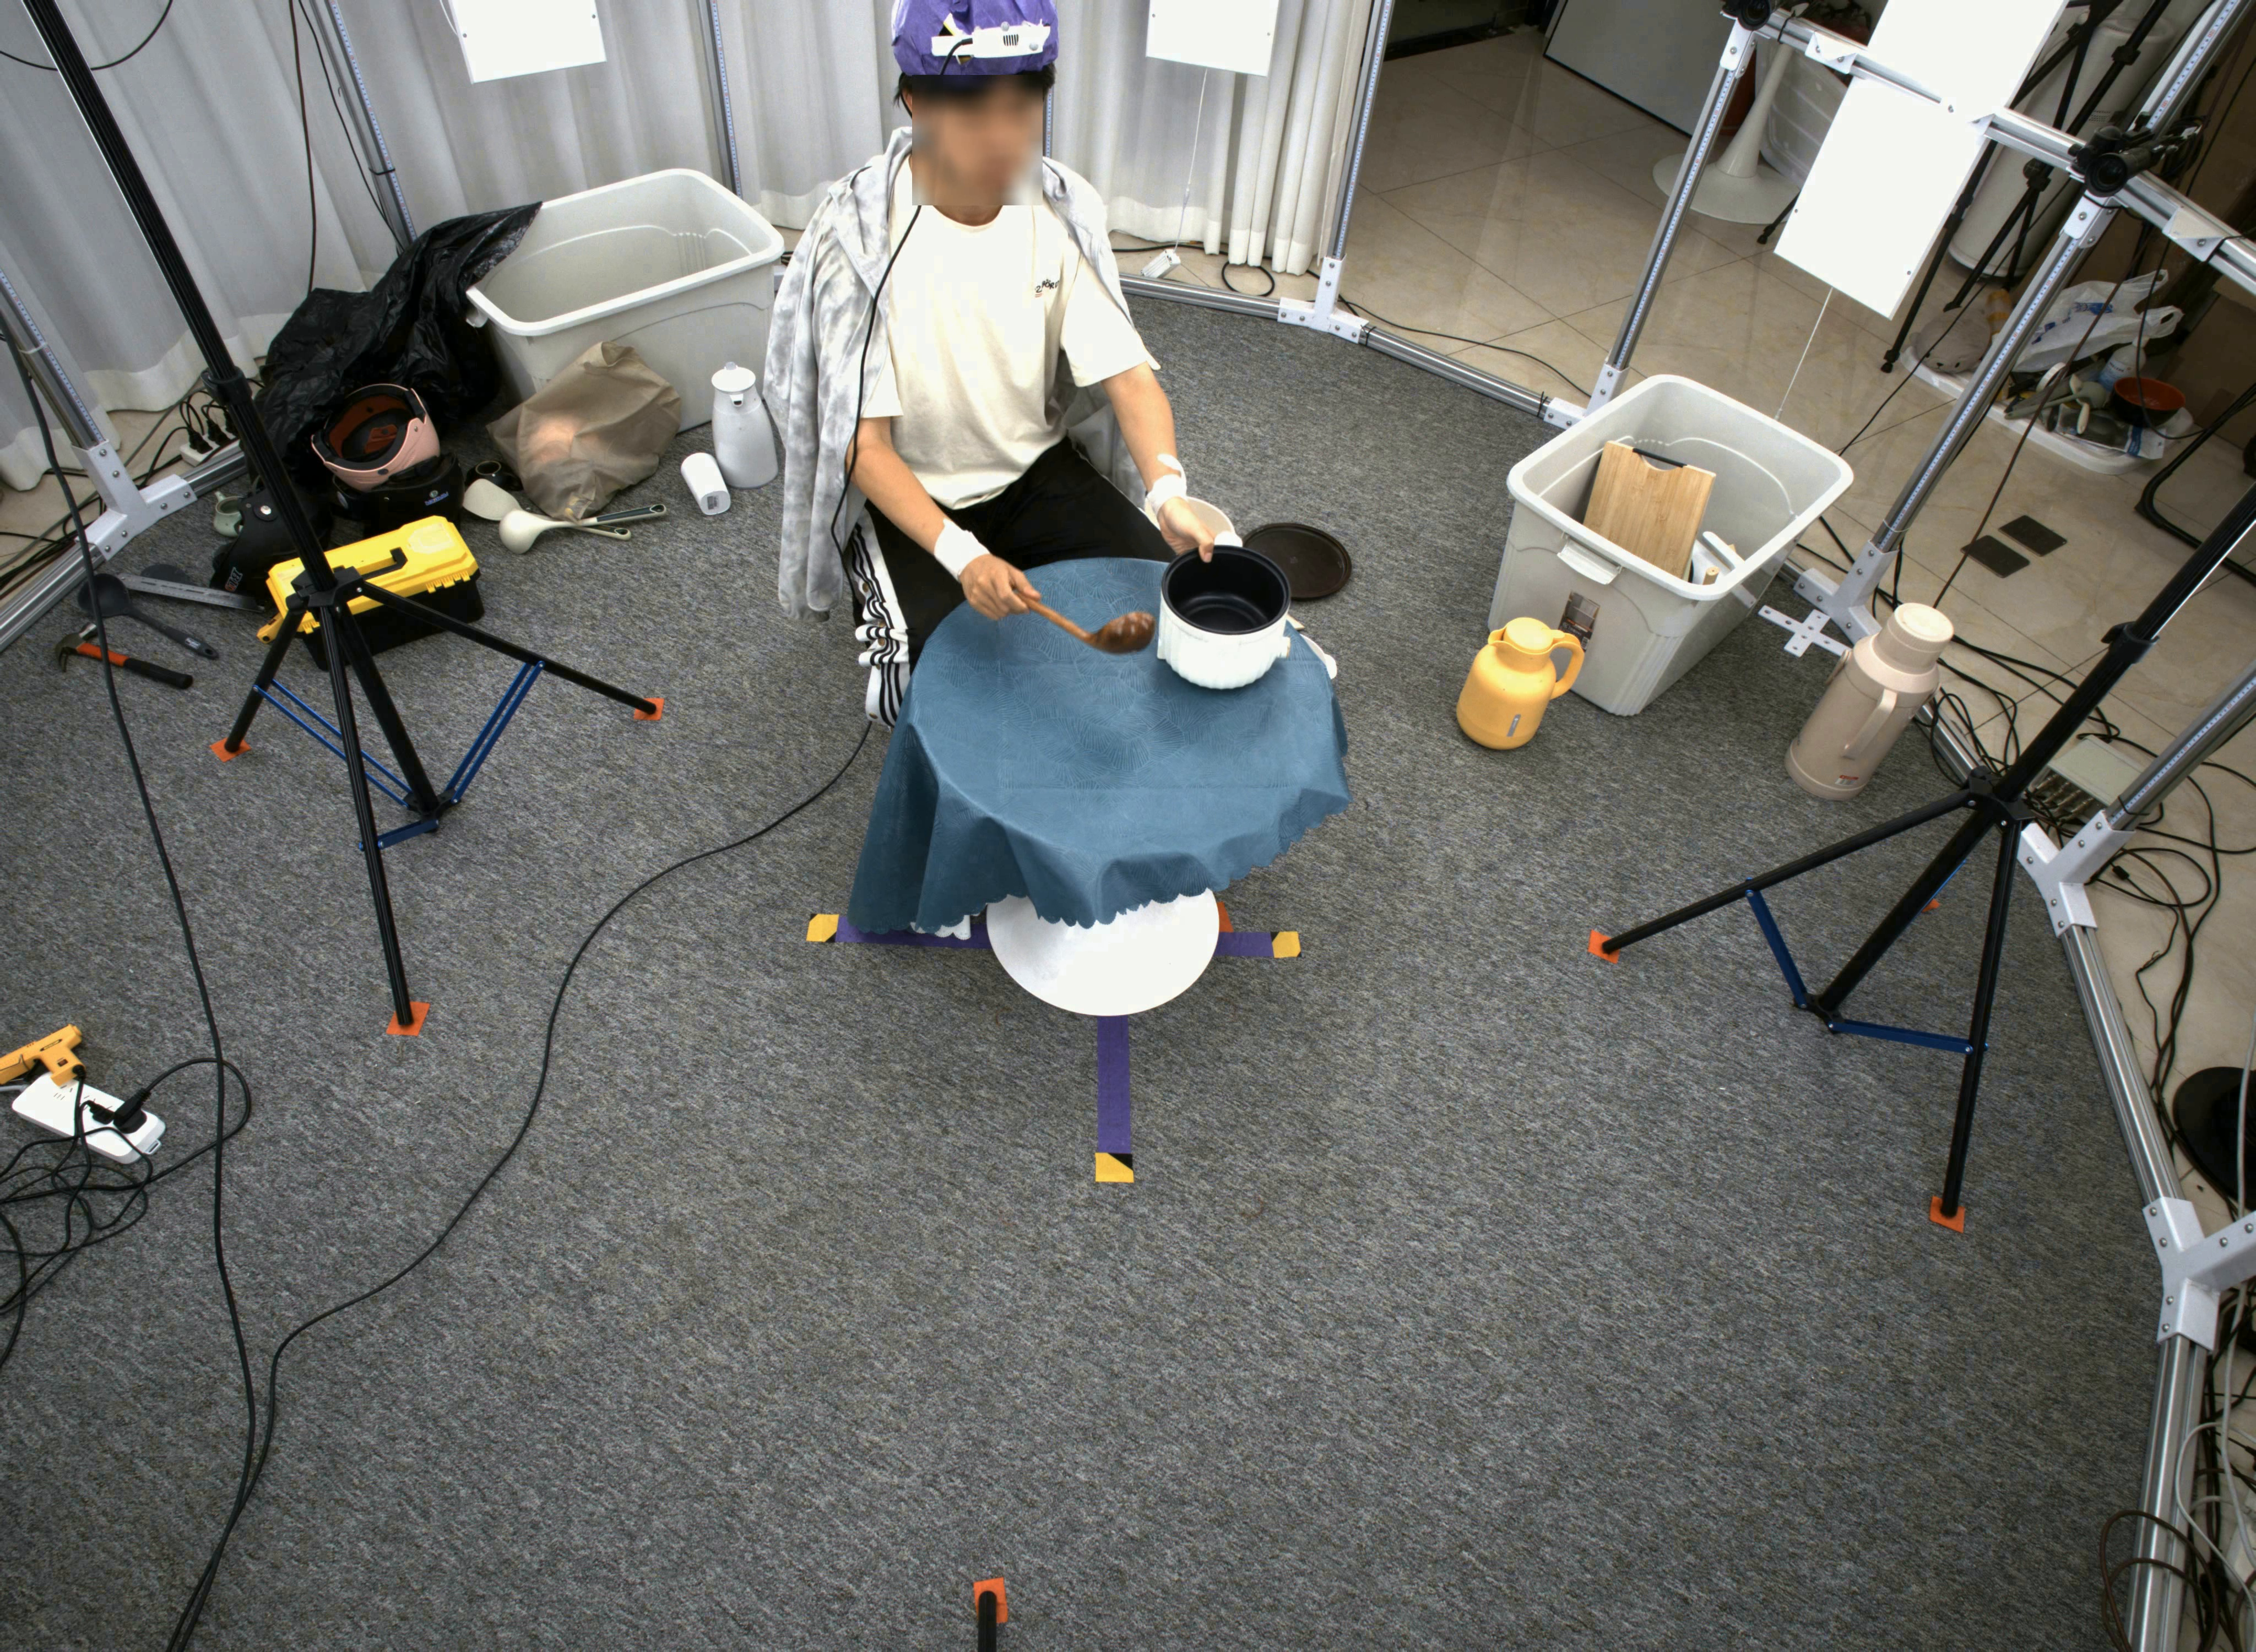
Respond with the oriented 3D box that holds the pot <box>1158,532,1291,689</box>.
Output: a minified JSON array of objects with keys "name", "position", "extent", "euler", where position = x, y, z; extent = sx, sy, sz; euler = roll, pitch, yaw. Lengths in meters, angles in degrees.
[{"name":"pot","position":[0.139,-0.292,1.831],"extent":[0.190,0.139,0.246],"euler":[2,52,3]}]

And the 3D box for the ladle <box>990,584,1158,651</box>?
[{"name":"ladle","position":[-0.078,-0.308,1.761],"extent":[0.278,0.081,0.076],"euler":[31,92,33]}]
